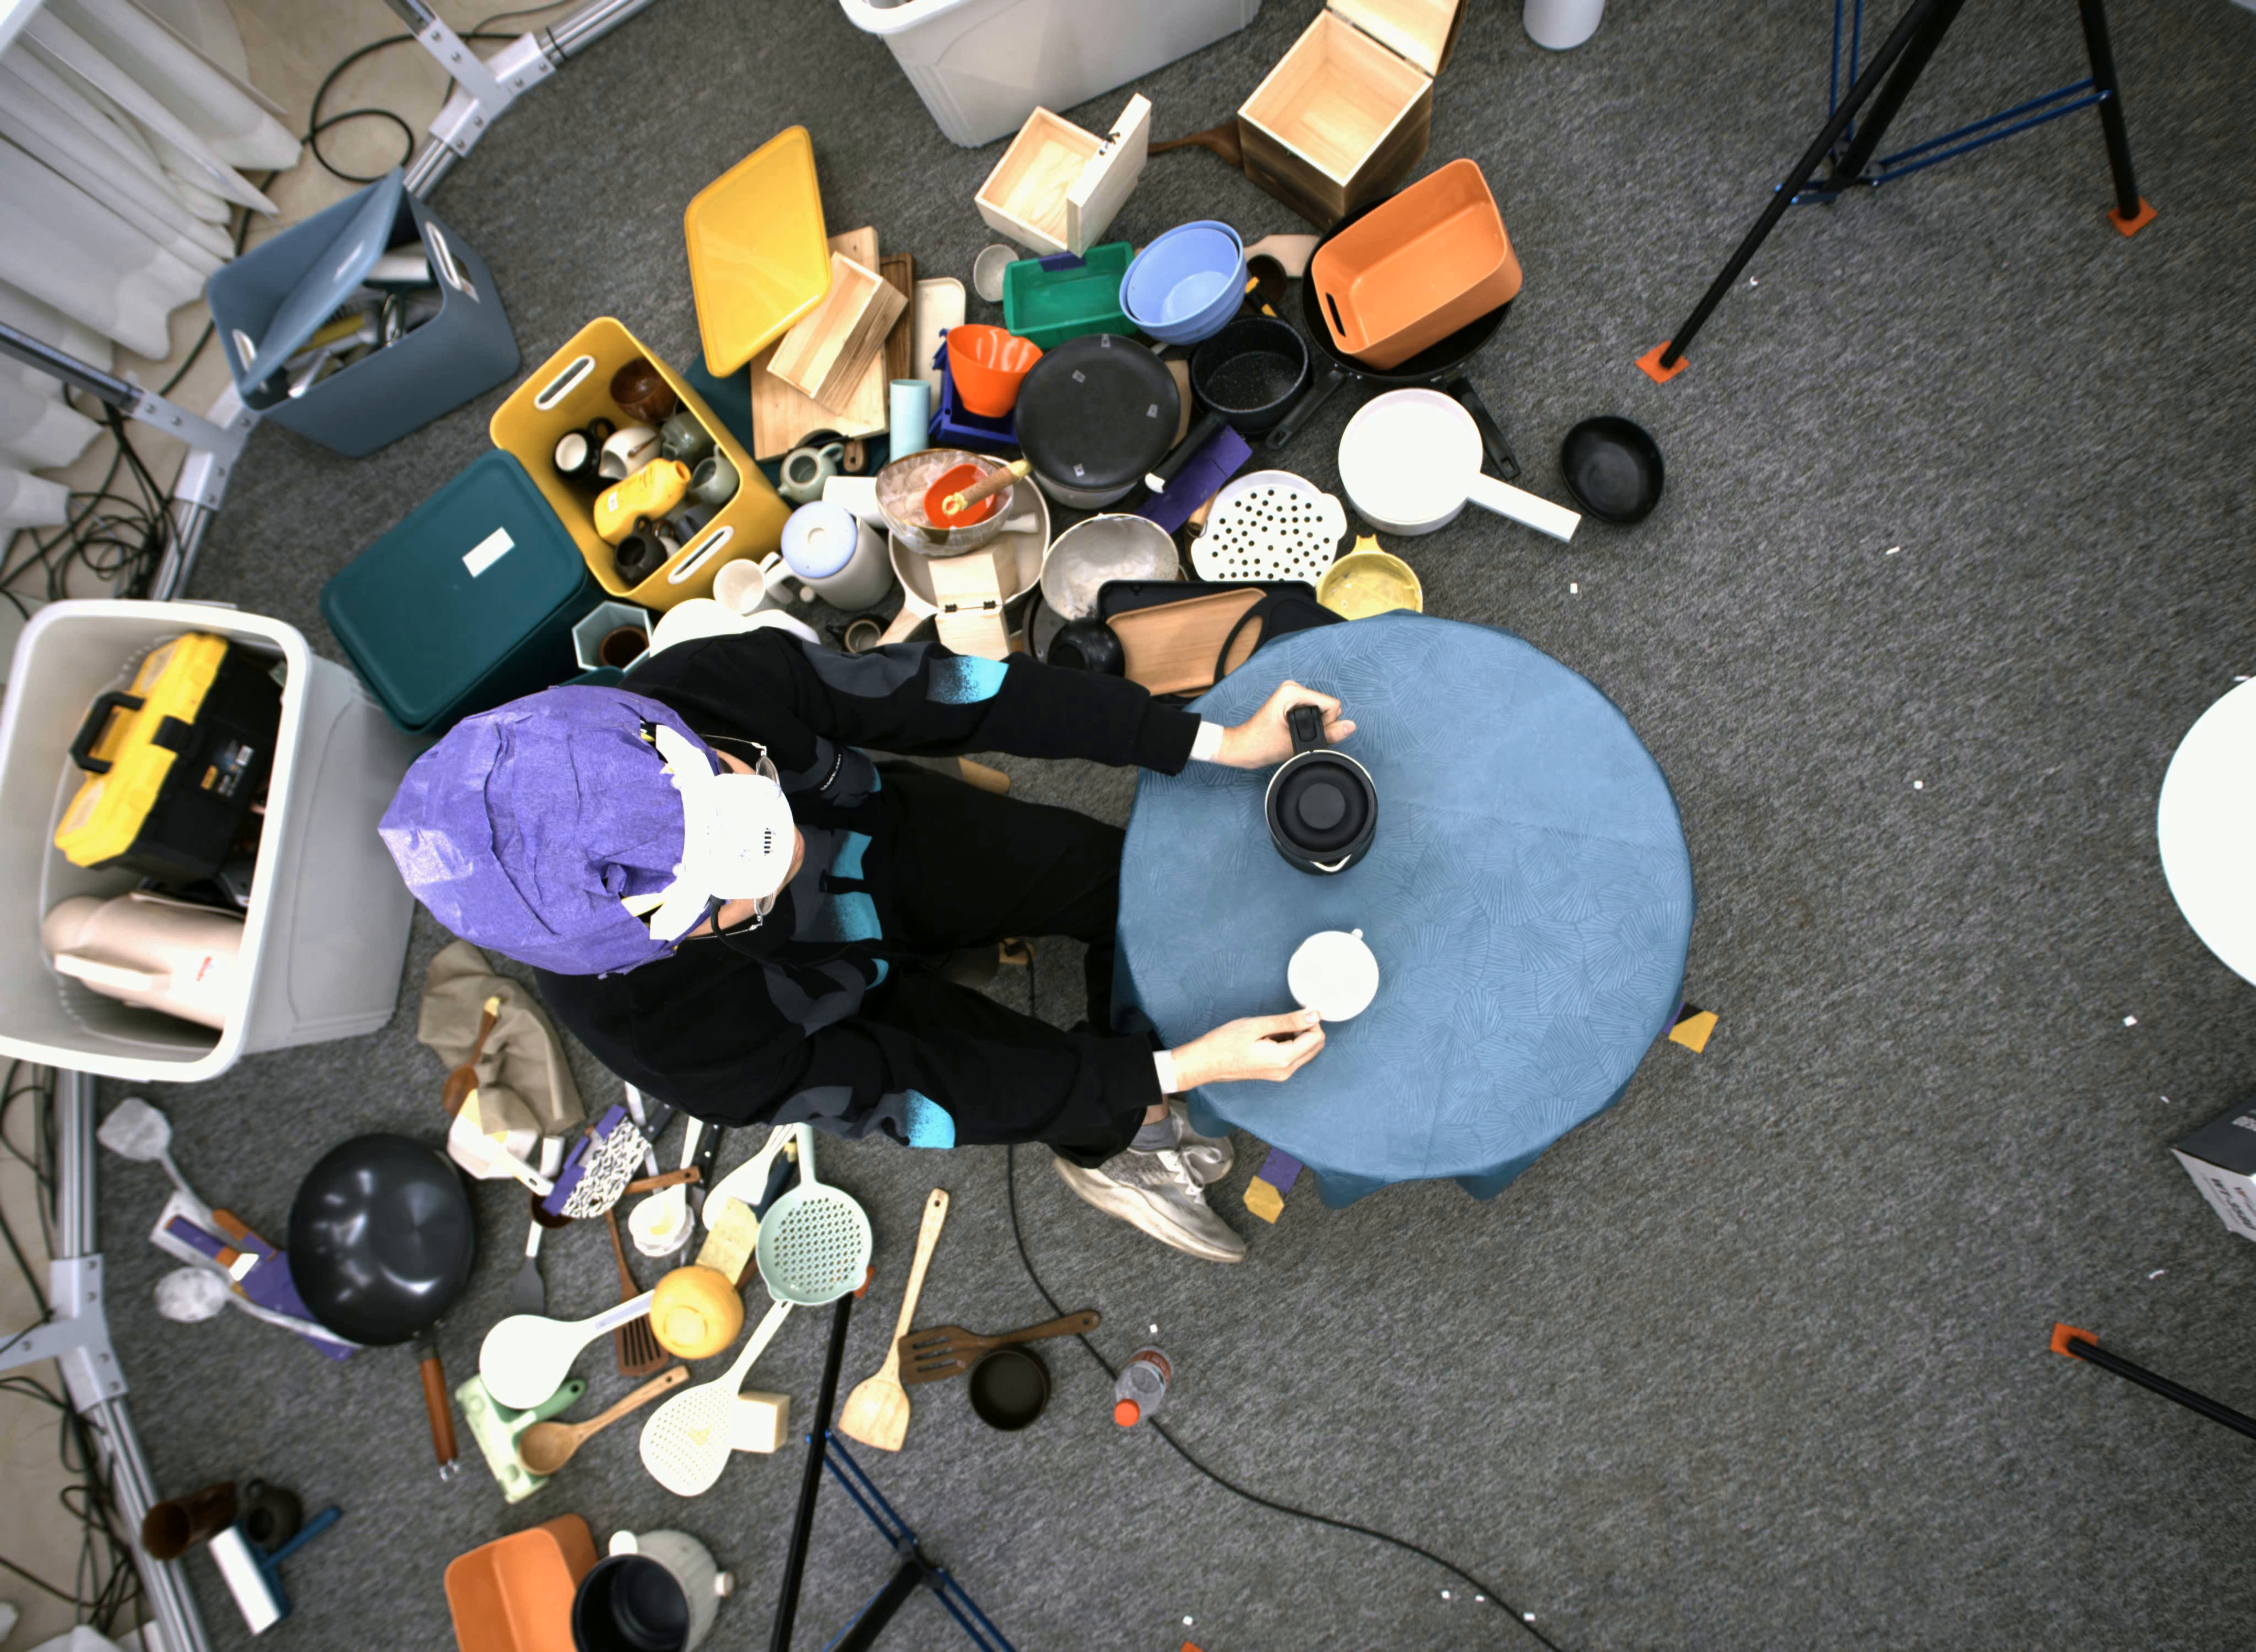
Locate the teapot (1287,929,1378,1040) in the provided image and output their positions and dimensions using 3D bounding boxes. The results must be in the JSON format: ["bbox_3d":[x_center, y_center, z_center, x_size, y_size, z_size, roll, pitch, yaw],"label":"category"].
[{"bbox_3d":[0.206,0.164,1.429,0.093,0.057,0.126,25,83,9],"label":"teapot"}]

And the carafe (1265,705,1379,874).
[{"bbox_3d":[0.191,-0.035,1.388,0.115,0.173,0.171,-12,86,9],"label":"carafe"}]
